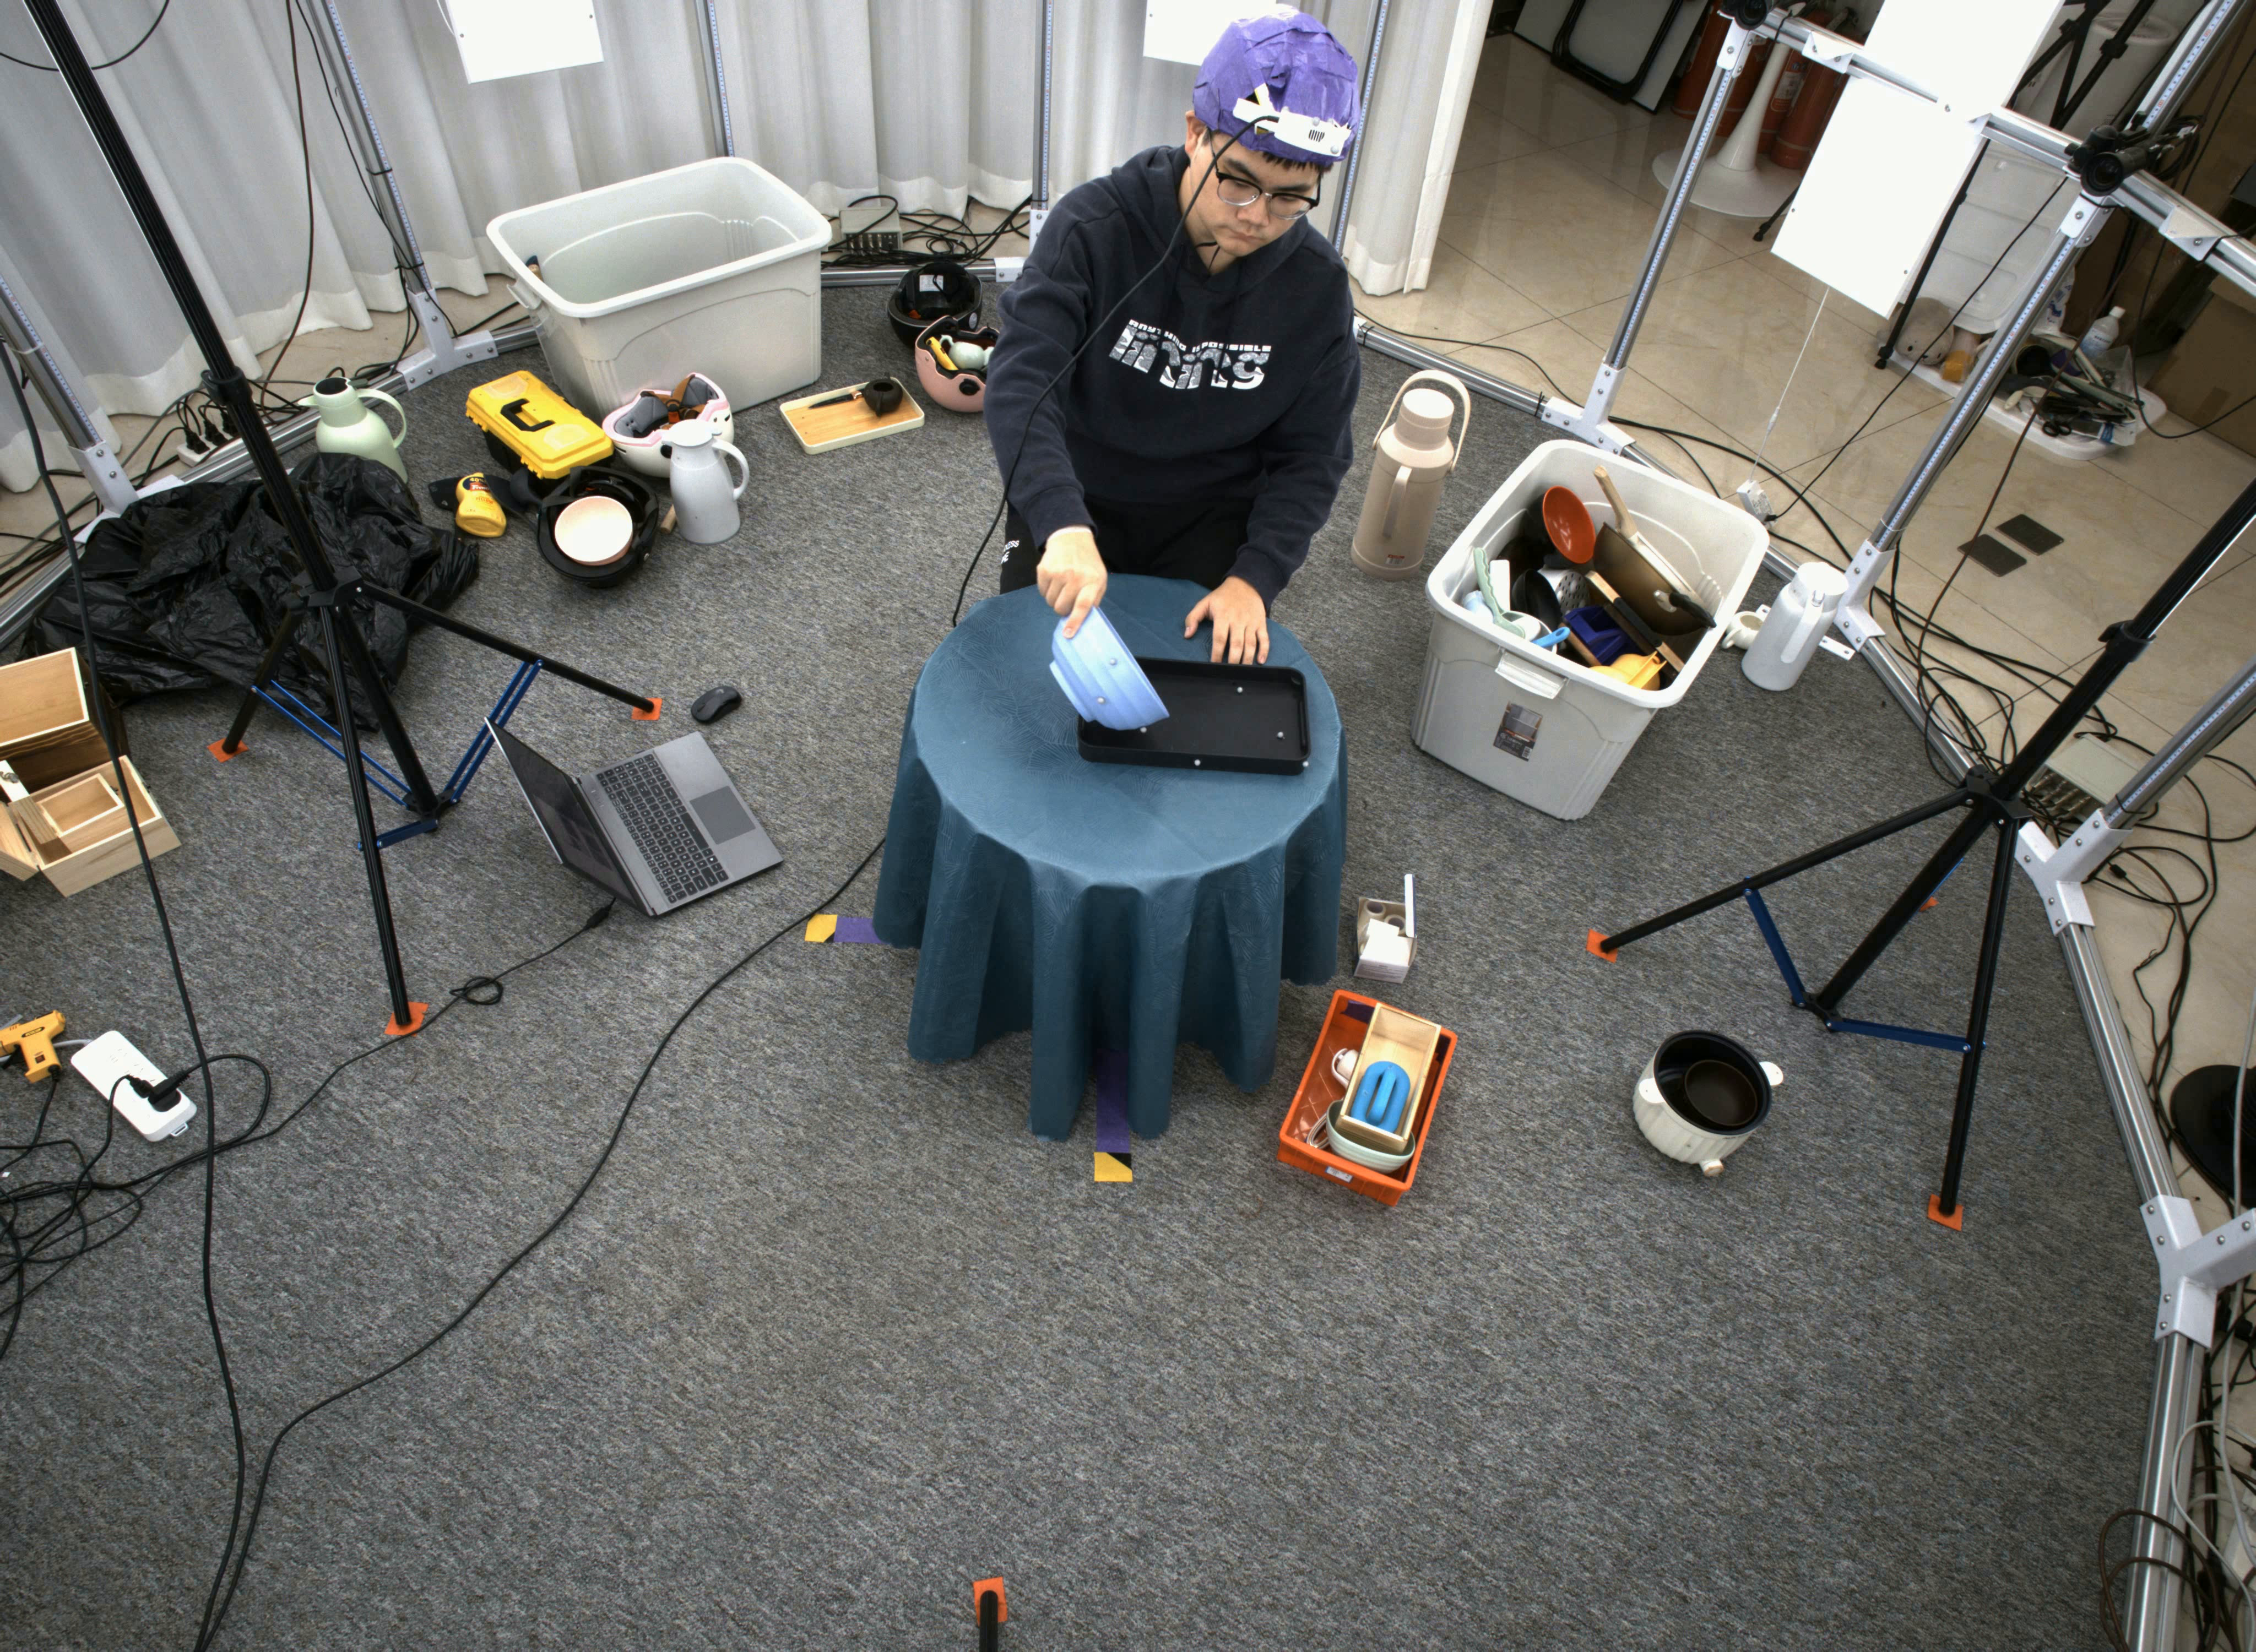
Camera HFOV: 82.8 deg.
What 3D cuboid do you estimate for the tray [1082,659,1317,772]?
[{"bbox_3d":[0.096,-0.156,1.787,0.318,0.036,0.189,2,48,-1],"label":"tray"}]

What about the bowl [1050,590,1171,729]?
[{"bbox_3d":[-0.037,-0.201,1.678,0.095,0.192,0.201,-33,53,9],"label":"bowl"}]
